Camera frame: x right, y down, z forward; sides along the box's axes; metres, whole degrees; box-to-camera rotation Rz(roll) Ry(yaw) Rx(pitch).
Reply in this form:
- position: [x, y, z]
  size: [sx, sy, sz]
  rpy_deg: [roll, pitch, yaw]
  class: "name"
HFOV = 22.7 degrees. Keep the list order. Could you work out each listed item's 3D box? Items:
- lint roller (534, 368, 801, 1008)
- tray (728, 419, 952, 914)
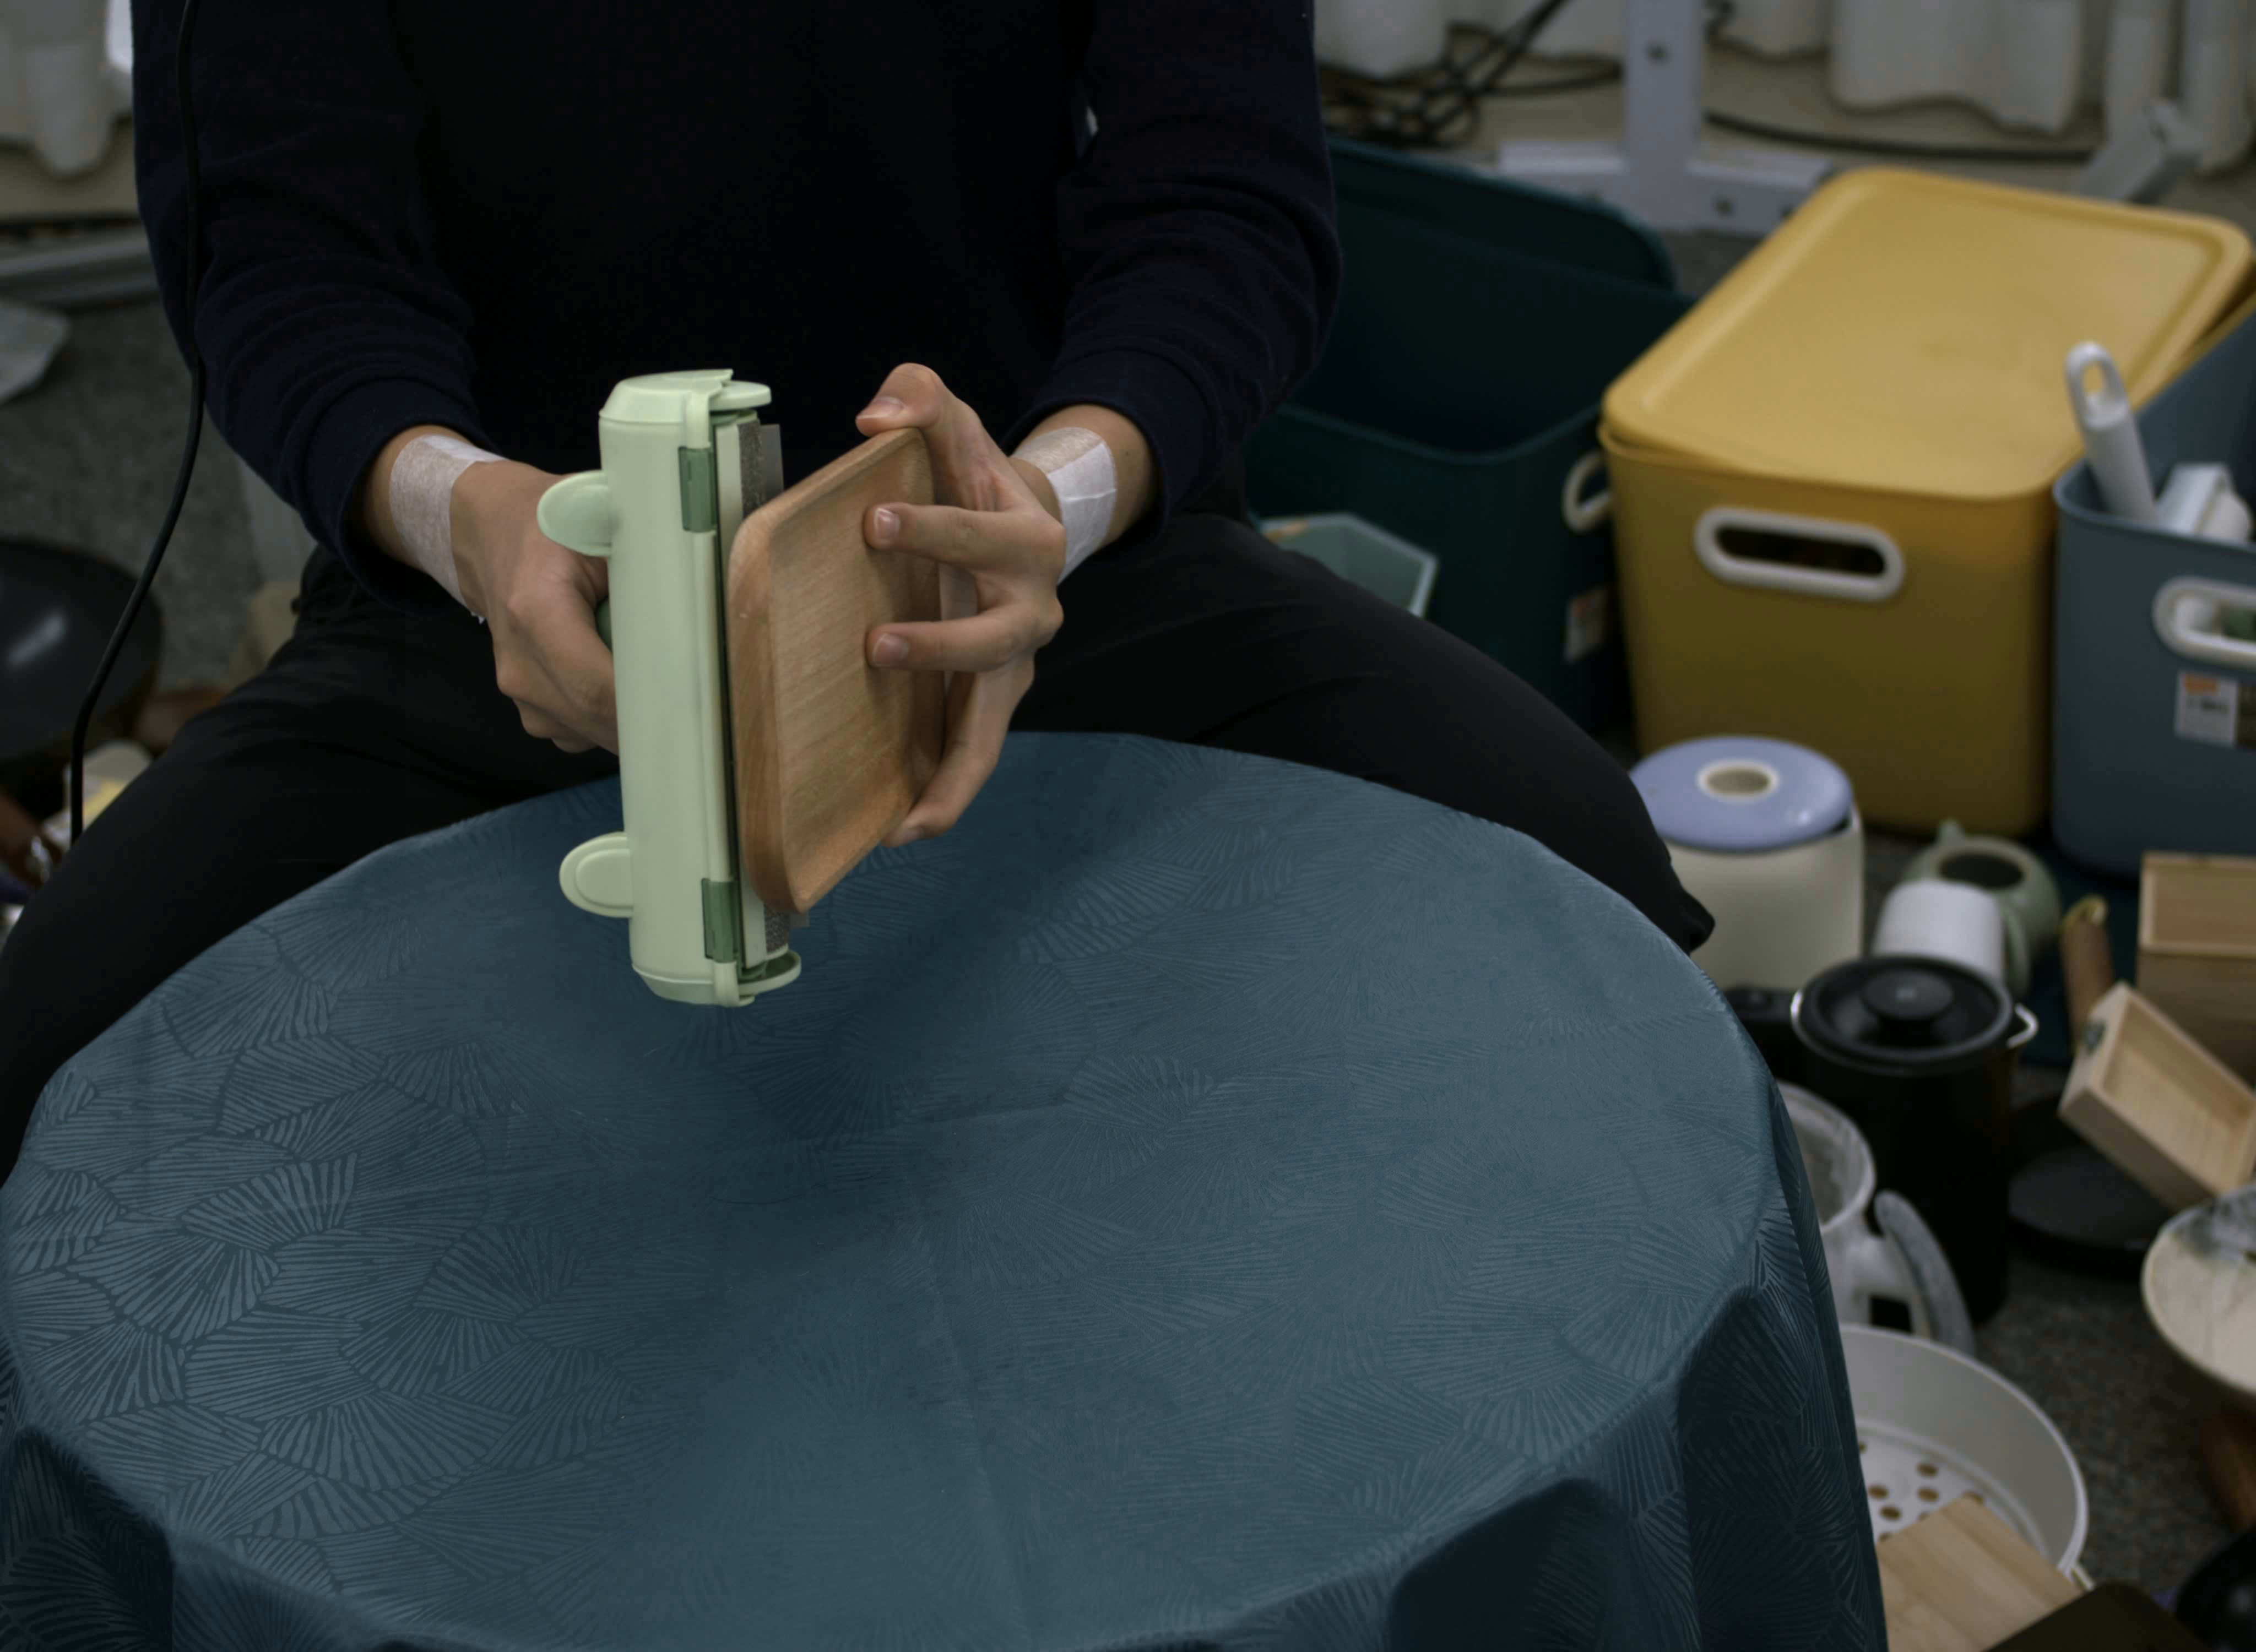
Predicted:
- position: [-0.168, -0.051, 1.816]
  size: [0.082, 0.198, 0.183]
  rpy_deg: [-7, 11, -29]
  class: "lint roller"
- position: [-0.091, -0.055, 1.812]
  size: [0.023, 0.130, 0.252]
  rpy_deg: [1, 10, 9]
  class: "tray"
